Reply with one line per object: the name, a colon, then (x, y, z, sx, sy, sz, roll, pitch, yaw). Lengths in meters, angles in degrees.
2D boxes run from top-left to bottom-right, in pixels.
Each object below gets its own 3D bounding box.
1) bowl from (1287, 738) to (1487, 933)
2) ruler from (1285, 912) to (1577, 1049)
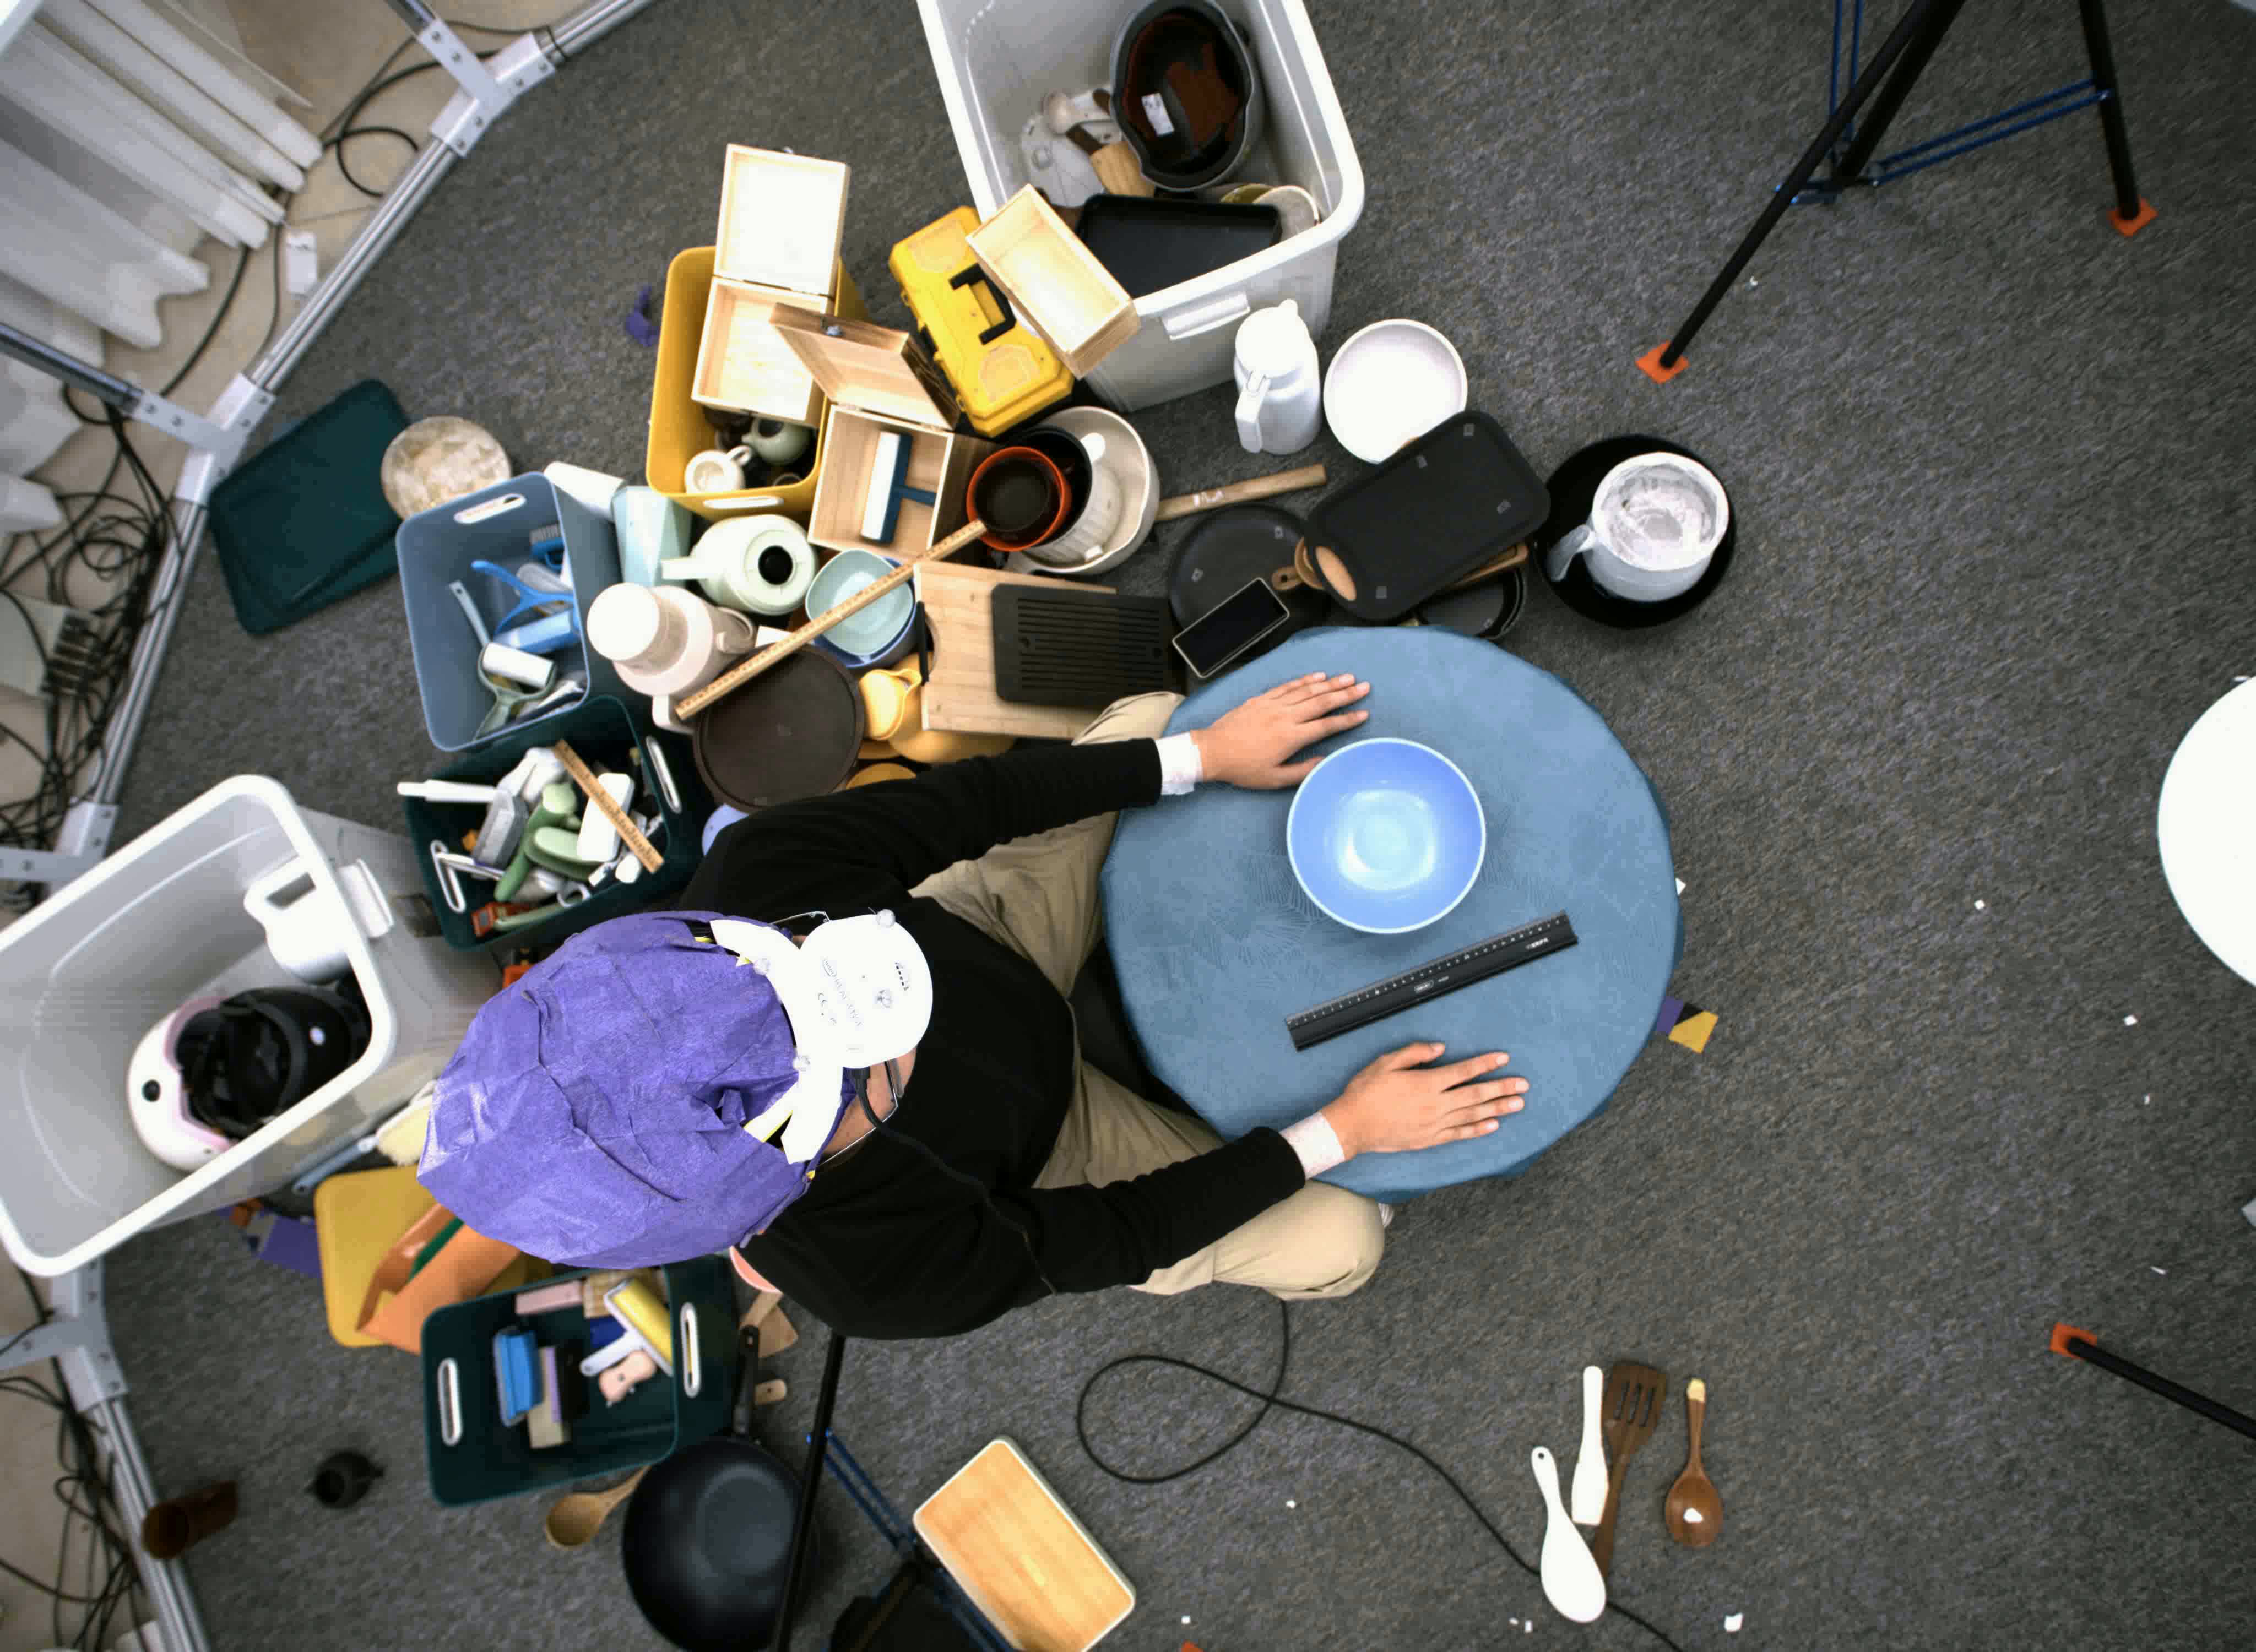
bowl: (0.264, 0.013, 1.416, 0.197, 0.095, 0.195, -1, 86, 10)
ruler: (0.315, 0.159, 1.439, 0.314, 0.017, 0.039, -22, 79, 9)
